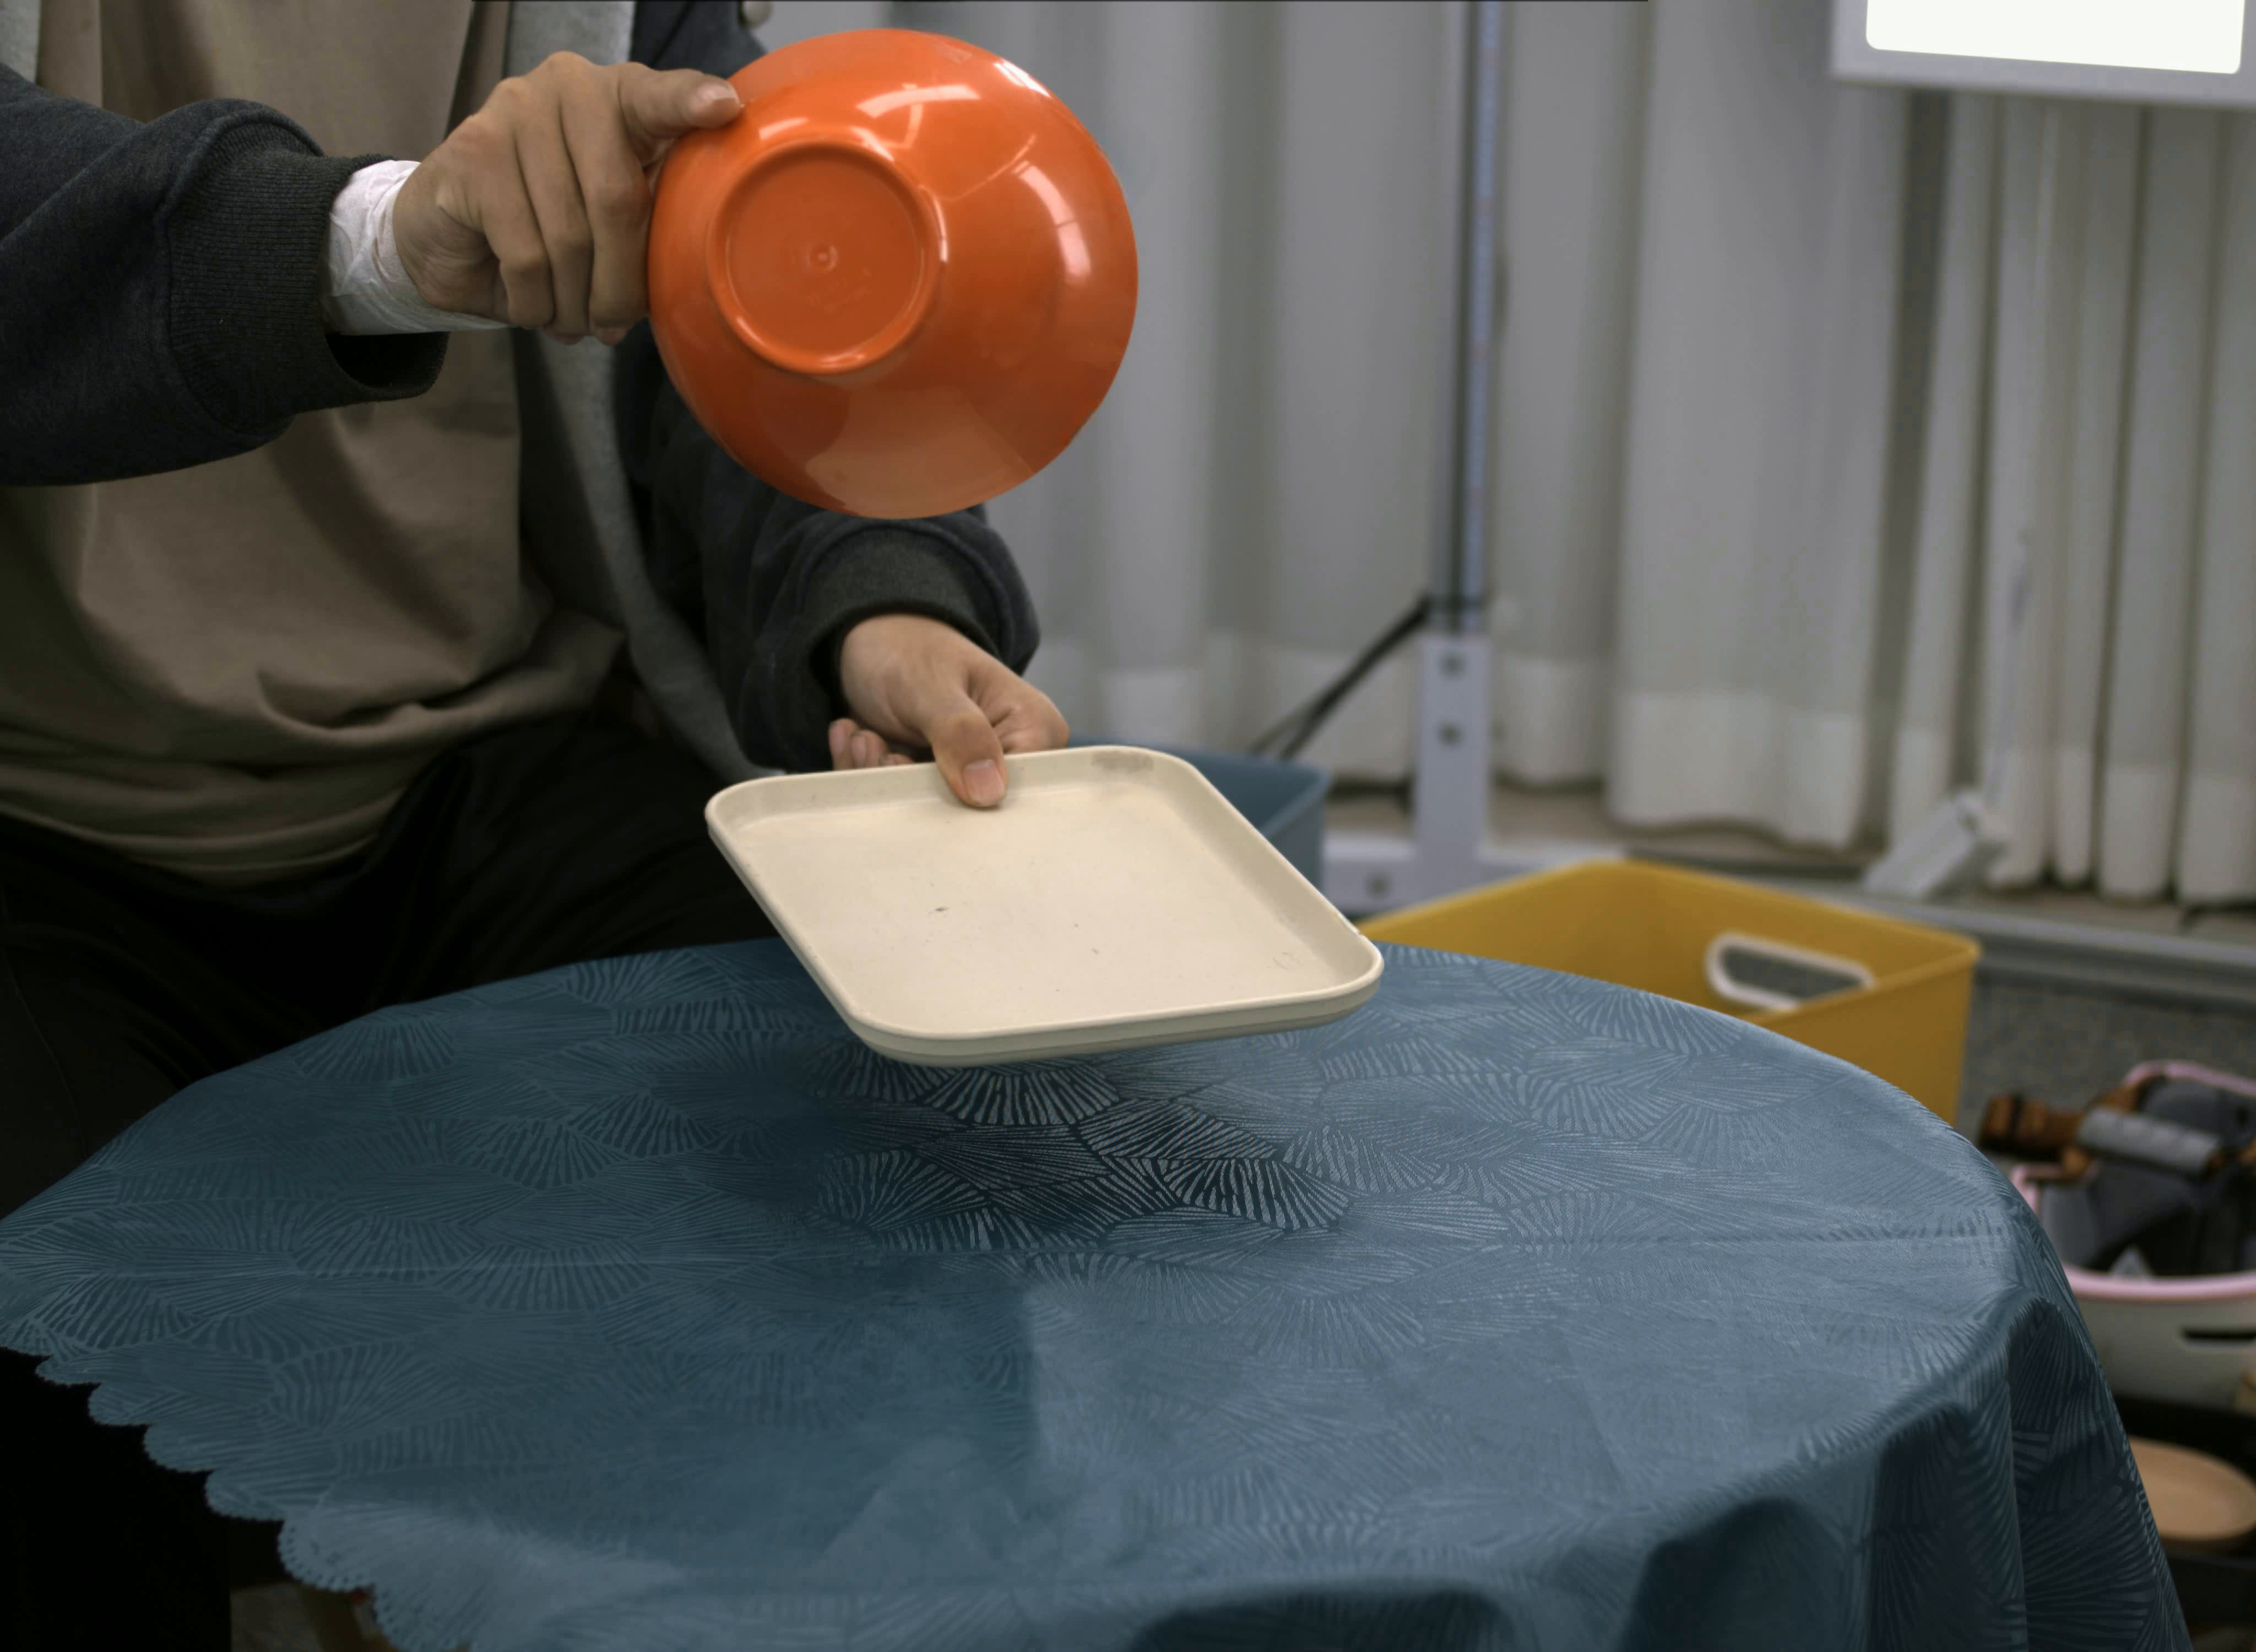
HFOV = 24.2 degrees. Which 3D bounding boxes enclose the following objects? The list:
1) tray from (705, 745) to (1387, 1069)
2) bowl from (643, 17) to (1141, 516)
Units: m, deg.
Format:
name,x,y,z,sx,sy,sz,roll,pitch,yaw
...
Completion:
name,x,y,z,sx,sy,sz,roll,pitch,yaw
tray,-0.030,0.024,1.672,0.171,0.017,0.237,-6,21,-17
bowl,-0.074,-0.160,1.517,0.147,0.149,0.104,2,9,5
